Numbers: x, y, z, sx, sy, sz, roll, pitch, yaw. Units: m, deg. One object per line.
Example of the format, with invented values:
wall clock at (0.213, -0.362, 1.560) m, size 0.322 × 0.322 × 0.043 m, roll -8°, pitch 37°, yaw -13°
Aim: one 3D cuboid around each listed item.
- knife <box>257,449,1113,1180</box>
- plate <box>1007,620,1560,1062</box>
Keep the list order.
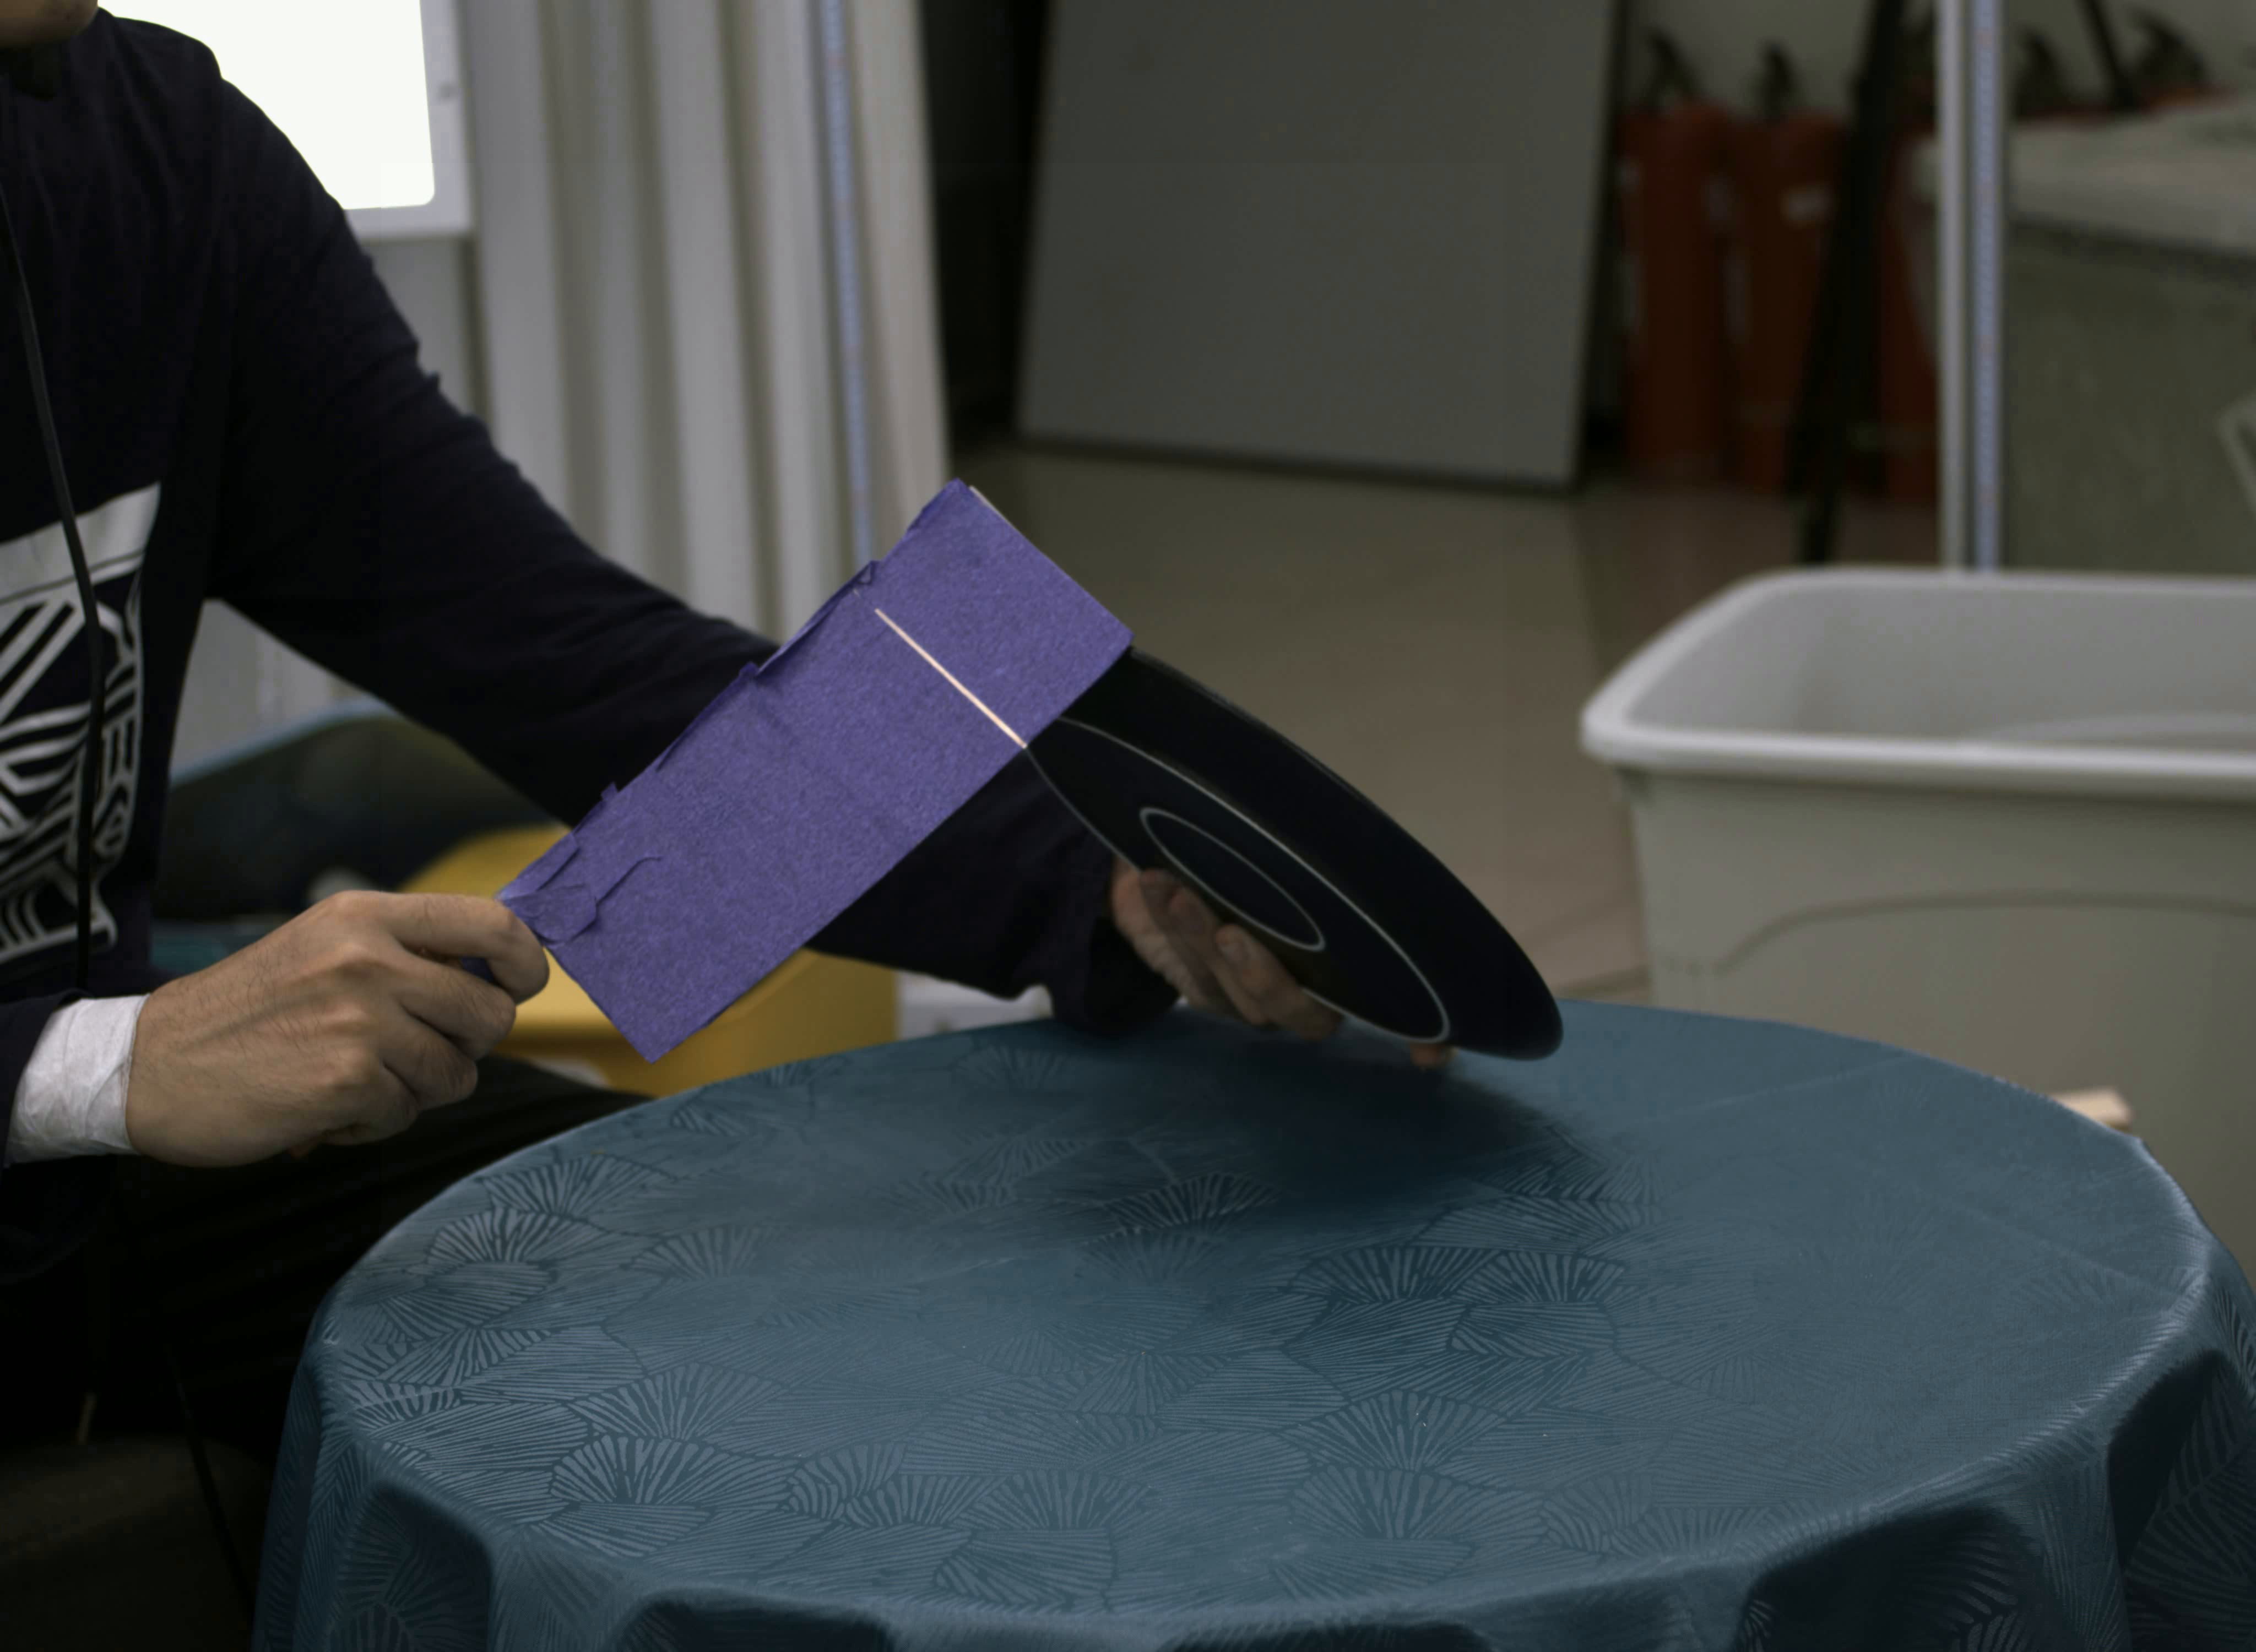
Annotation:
knife at (-0.139, 0.013, 1.722) m, size 0.105 × 0.314 × 0.032 m, roll 43°, pitch -4°, yaw 32°
plate at (0.040, 0.009, 1.807) m, size 0.023 × 0.242 × 0.247 m, roll -52°, pitch 30°, yaw -12°
